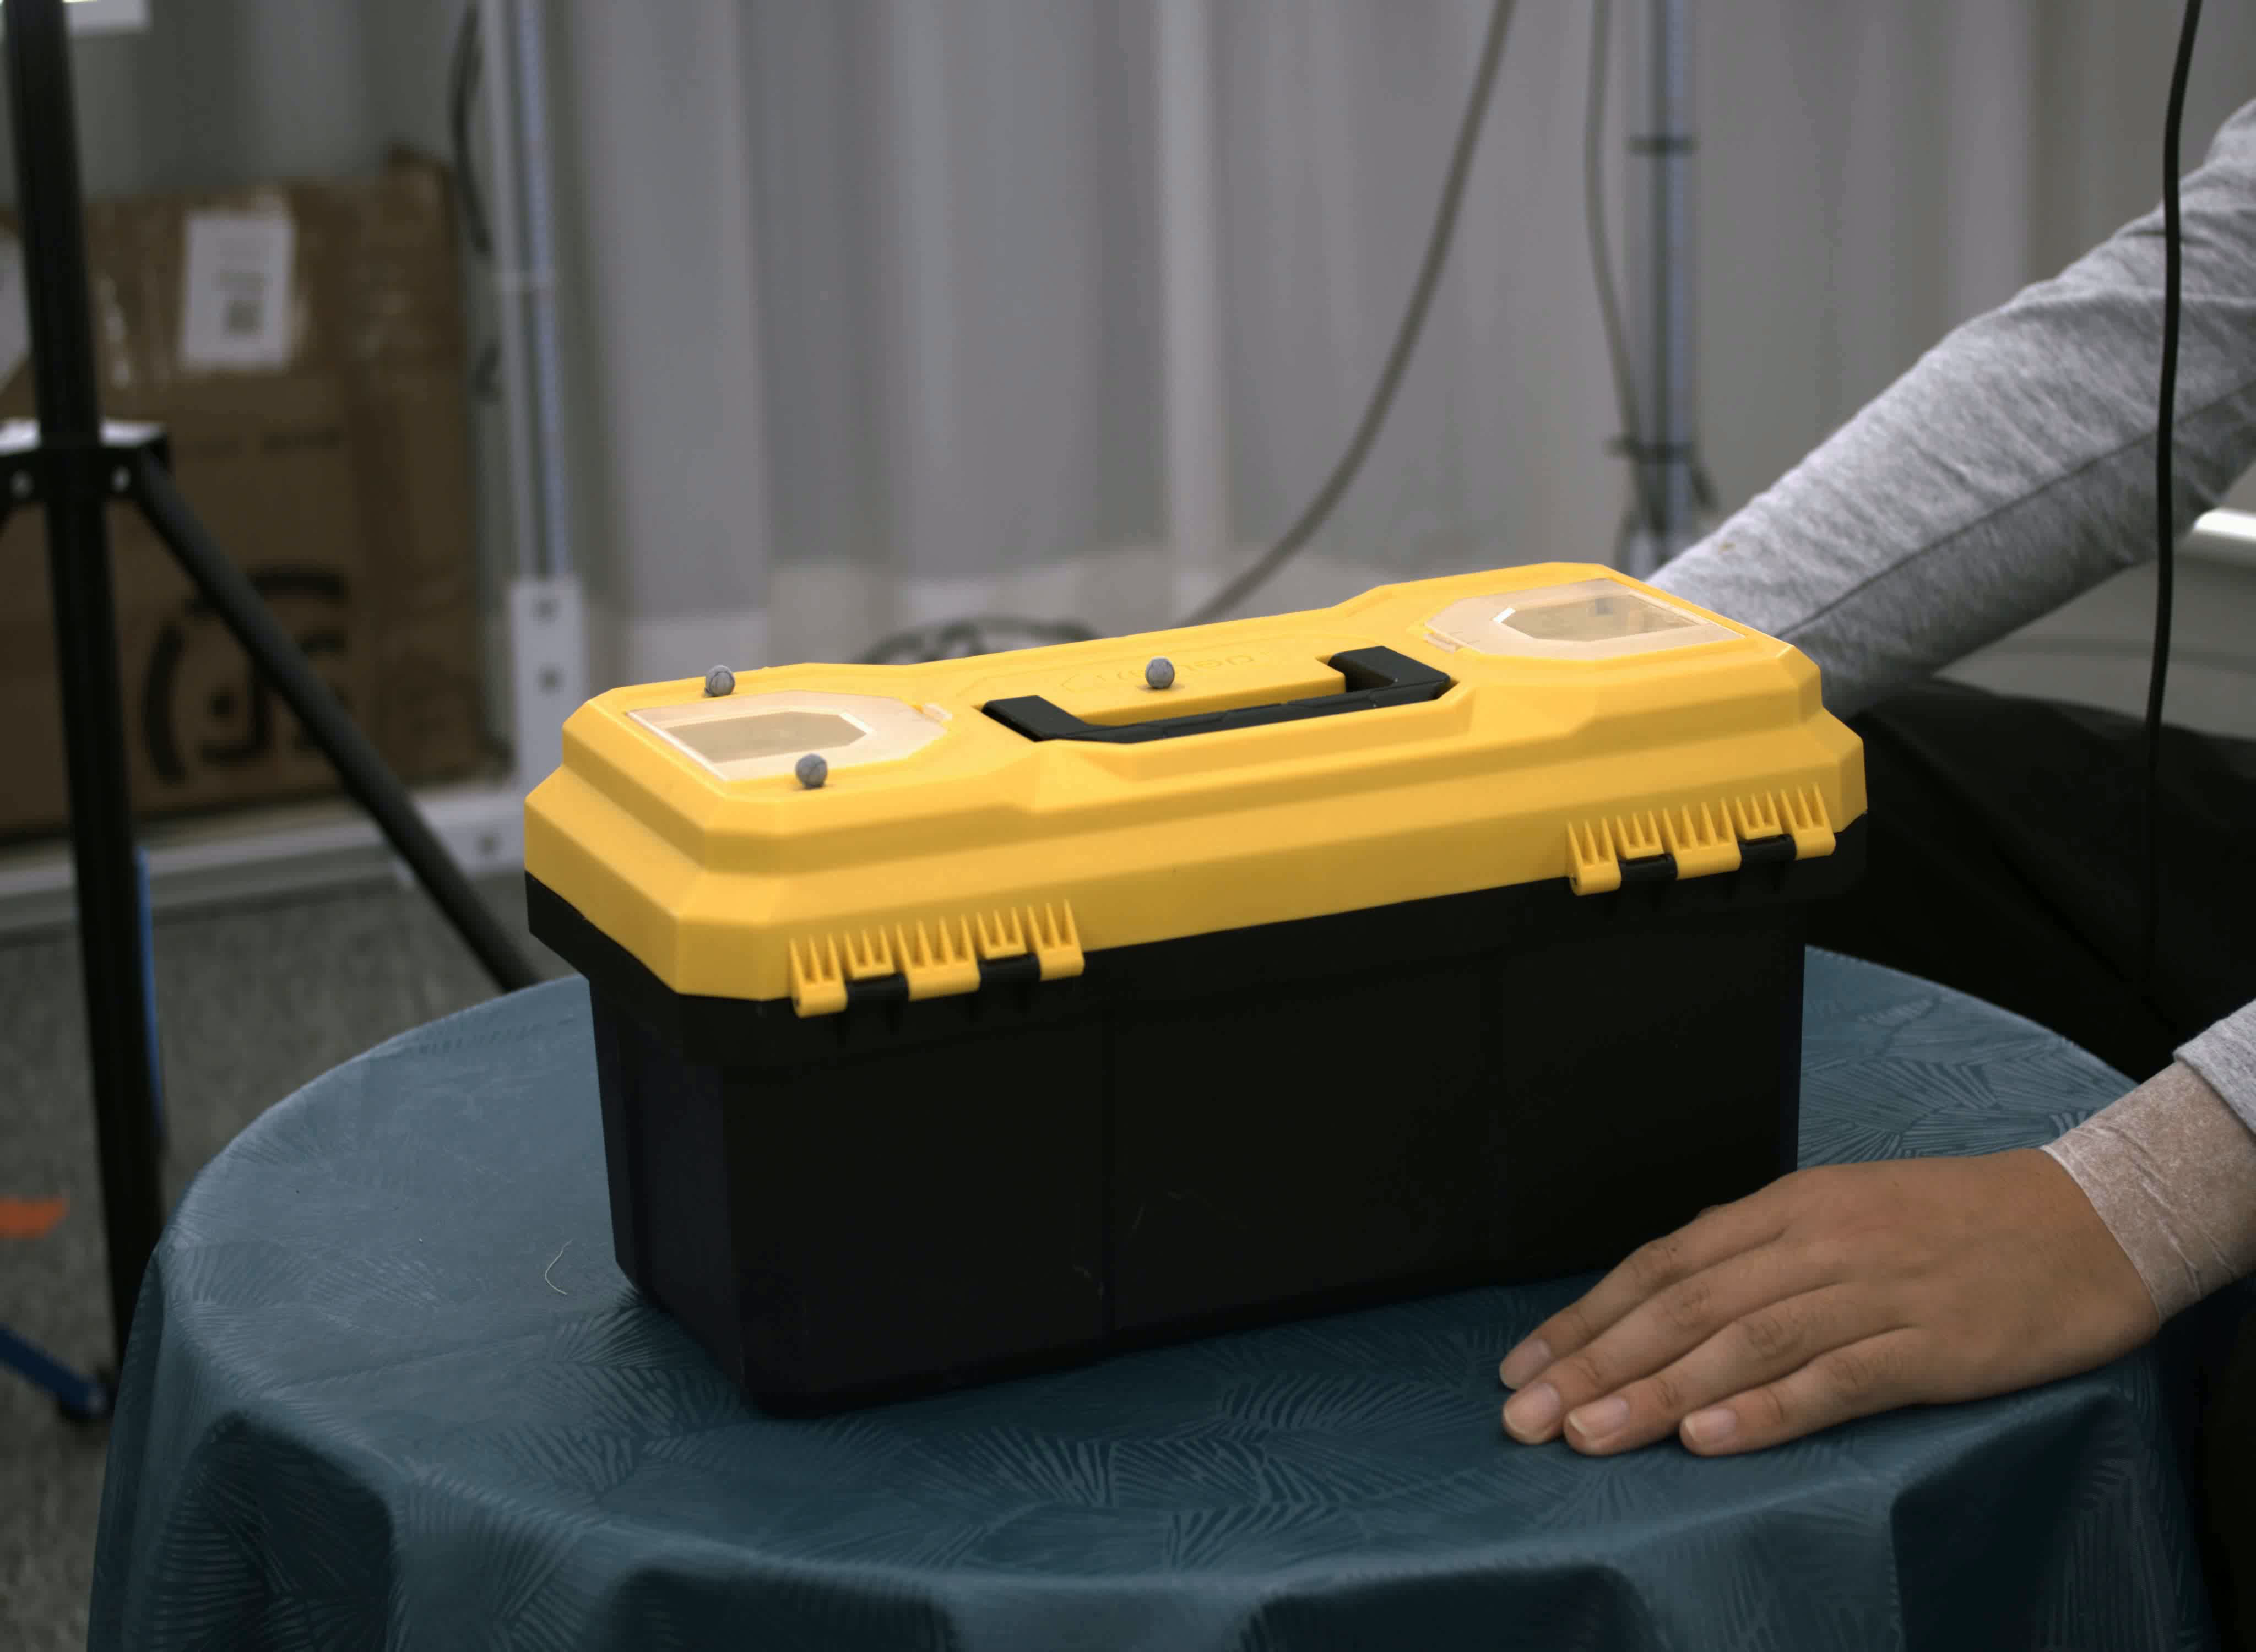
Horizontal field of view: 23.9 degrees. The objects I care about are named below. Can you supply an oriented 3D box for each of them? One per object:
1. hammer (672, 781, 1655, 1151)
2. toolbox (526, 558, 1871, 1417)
[{"bbox_3d":[0.016,0.035,1.701,0.333,0.032,0.134,-14,16,-18],"label":"hammer"},{"bbox_3d":[0.020,0.039,1.478,0.345,0.173,0.184,-8,16,-19],"label":"toolbox"}]
